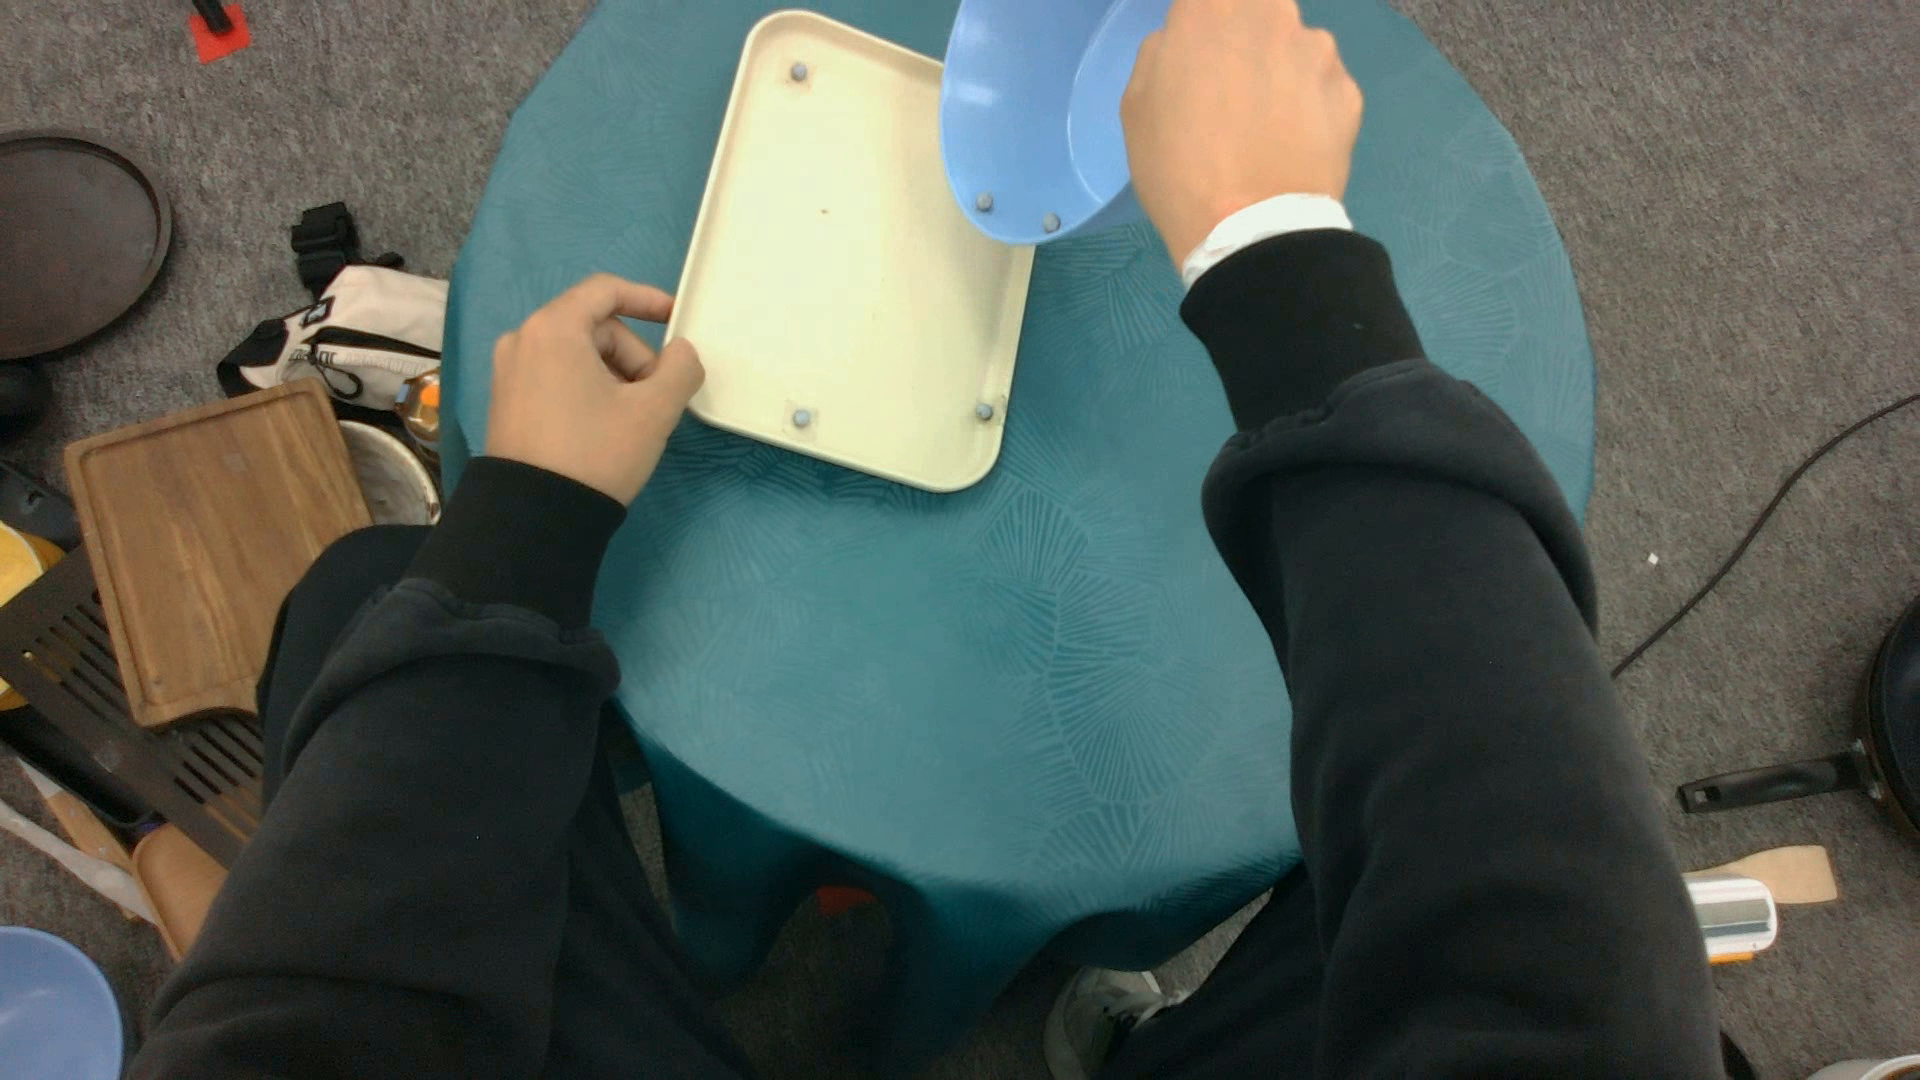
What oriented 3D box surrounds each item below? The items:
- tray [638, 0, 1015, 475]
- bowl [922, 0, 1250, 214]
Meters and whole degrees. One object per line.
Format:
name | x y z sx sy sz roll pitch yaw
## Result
tray | -0.058 -0.155 0.697 0.171 0.017 0.240 16 68 -15
bowl | 0.063 -0.225 0.614 0.070 0.175 0.176 9 65 -40
